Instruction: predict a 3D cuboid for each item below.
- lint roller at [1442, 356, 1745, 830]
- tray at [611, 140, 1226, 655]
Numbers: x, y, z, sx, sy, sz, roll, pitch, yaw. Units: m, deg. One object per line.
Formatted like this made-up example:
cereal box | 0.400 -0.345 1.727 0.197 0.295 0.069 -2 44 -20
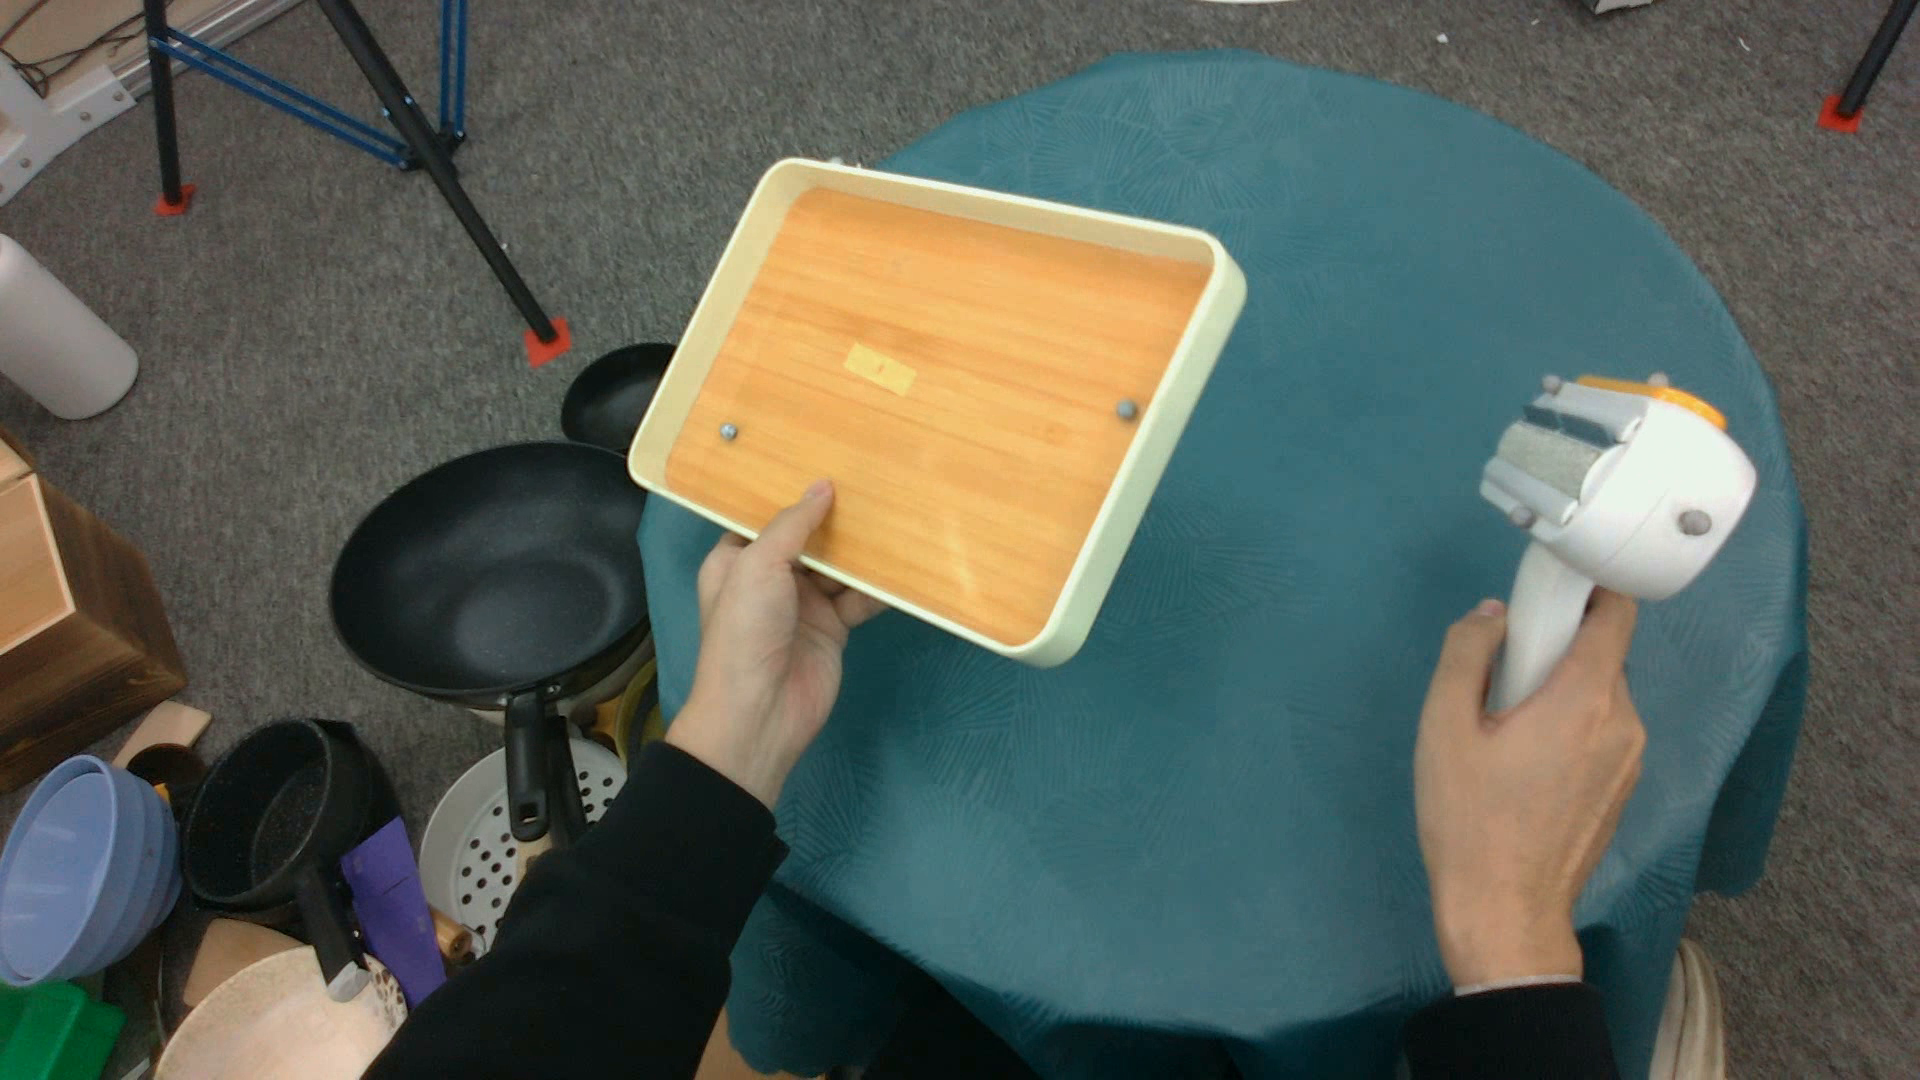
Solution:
lint roller | 0.230 0.025 0.556 0.074 0.193 0.192 22 106 3
tray | -0.037 -0.081 0.640 0.300 0.027 0.191 23 87 40
